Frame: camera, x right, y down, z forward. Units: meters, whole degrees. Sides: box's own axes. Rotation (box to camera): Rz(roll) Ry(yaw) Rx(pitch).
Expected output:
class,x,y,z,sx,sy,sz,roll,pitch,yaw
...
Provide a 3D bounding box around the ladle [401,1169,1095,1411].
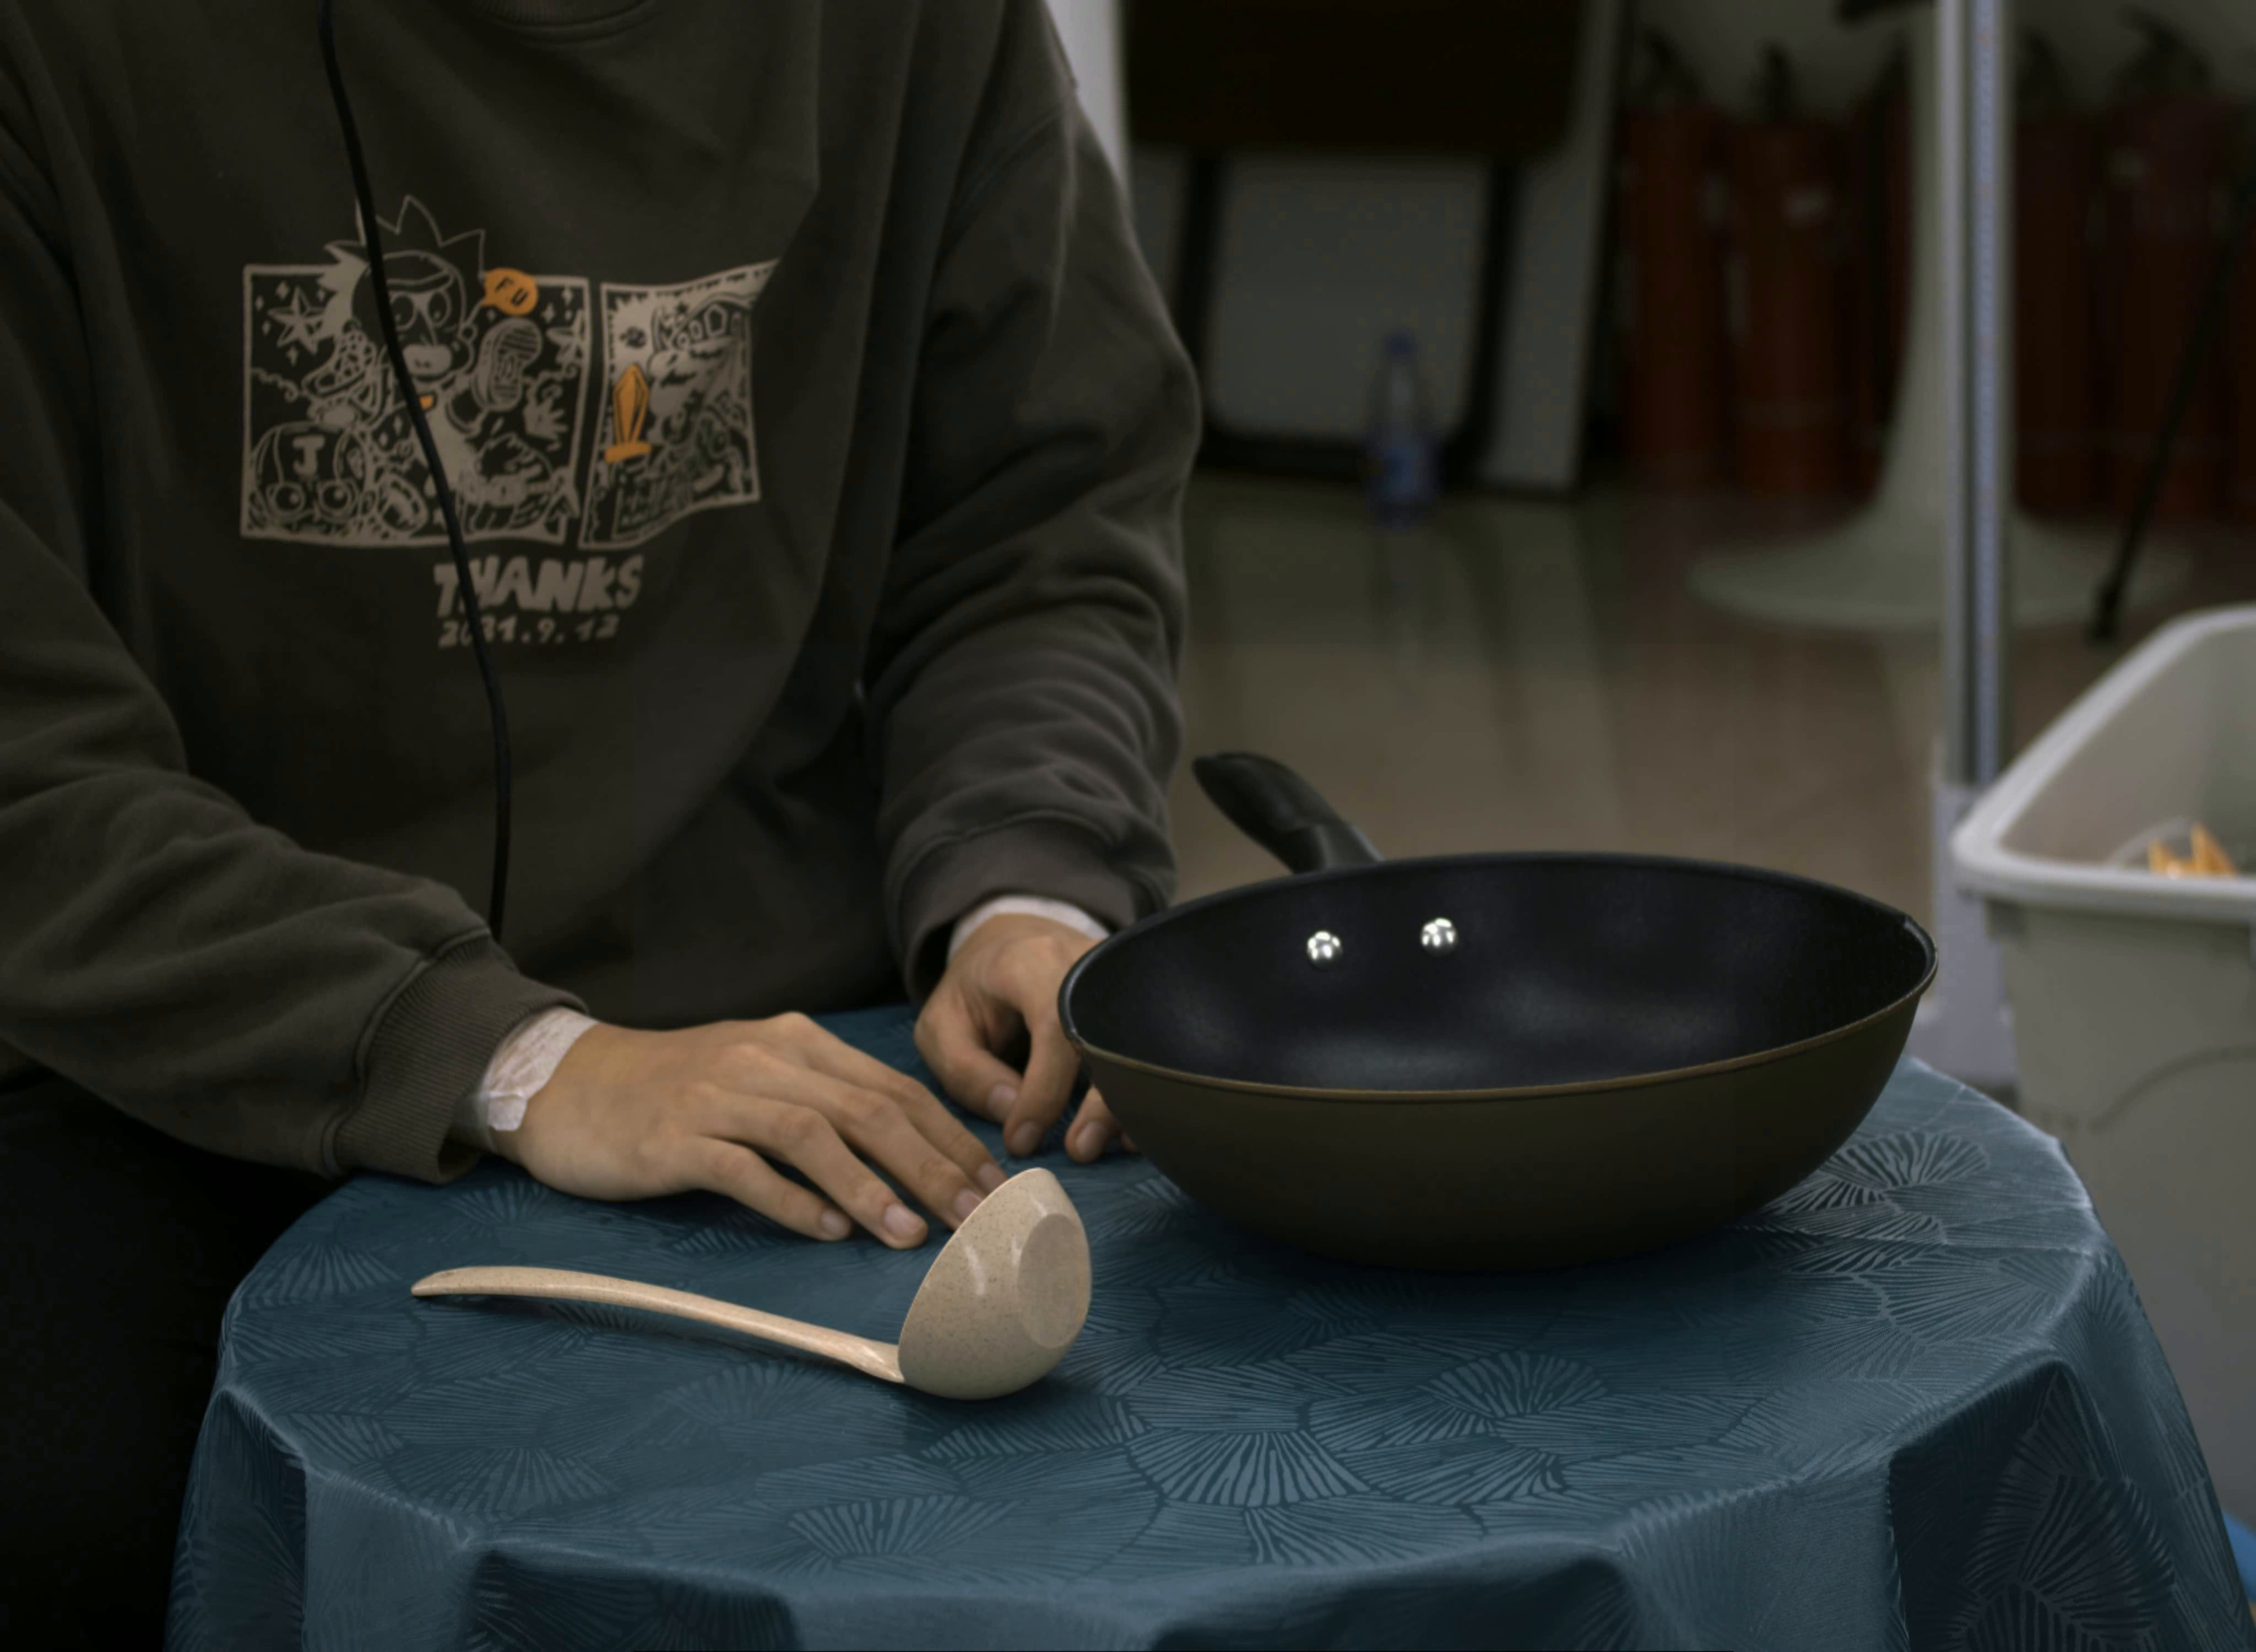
class,x,y,z,sx,sy,sz,roll,pitch,yaw
ladle,-0.125,0.126,1.636,0.256,0.073,0.071,6,22,33

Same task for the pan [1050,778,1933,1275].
class,x,y,z,sx,sy,sz,roll,pitch,yaw
pan,0.095,0.064,1.810,0.283,0.088,0.466,-7,13,-13
